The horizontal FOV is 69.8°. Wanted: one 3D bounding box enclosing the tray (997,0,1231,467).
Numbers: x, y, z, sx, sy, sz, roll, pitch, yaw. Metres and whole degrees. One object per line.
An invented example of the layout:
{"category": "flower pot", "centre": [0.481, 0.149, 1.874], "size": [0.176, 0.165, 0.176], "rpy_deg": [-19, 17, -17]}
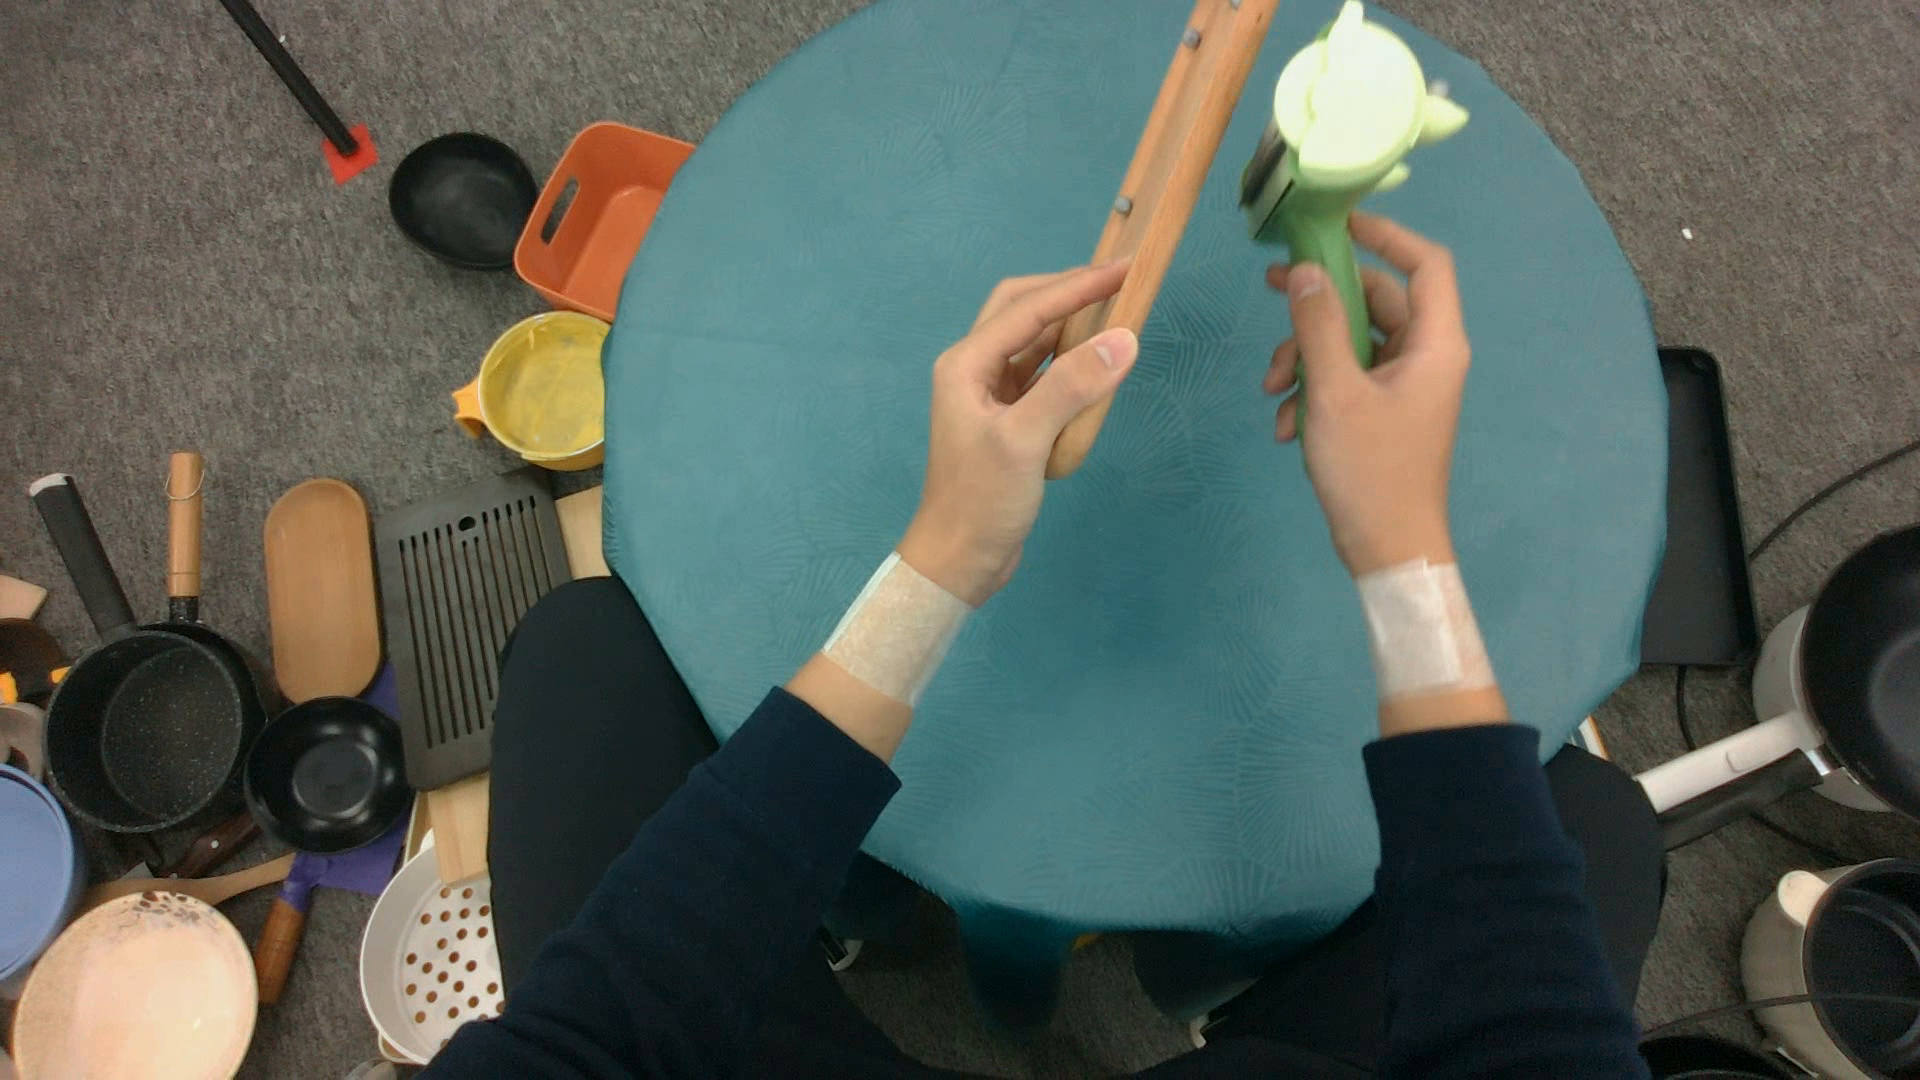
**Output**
{"category": "tray", "centre": [0.070, -0.149, 0.597], "size": [0.023, 0.130, 0.250], "rpy_deg": [20, 93, -2]}

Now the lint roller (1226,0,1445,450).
{"category": "lint roller", "centre": [0.166, -0.135, 0.582], "size": [0.082, 0.199, 0.183], "rpy_deg": [-18, 95, 12]}
